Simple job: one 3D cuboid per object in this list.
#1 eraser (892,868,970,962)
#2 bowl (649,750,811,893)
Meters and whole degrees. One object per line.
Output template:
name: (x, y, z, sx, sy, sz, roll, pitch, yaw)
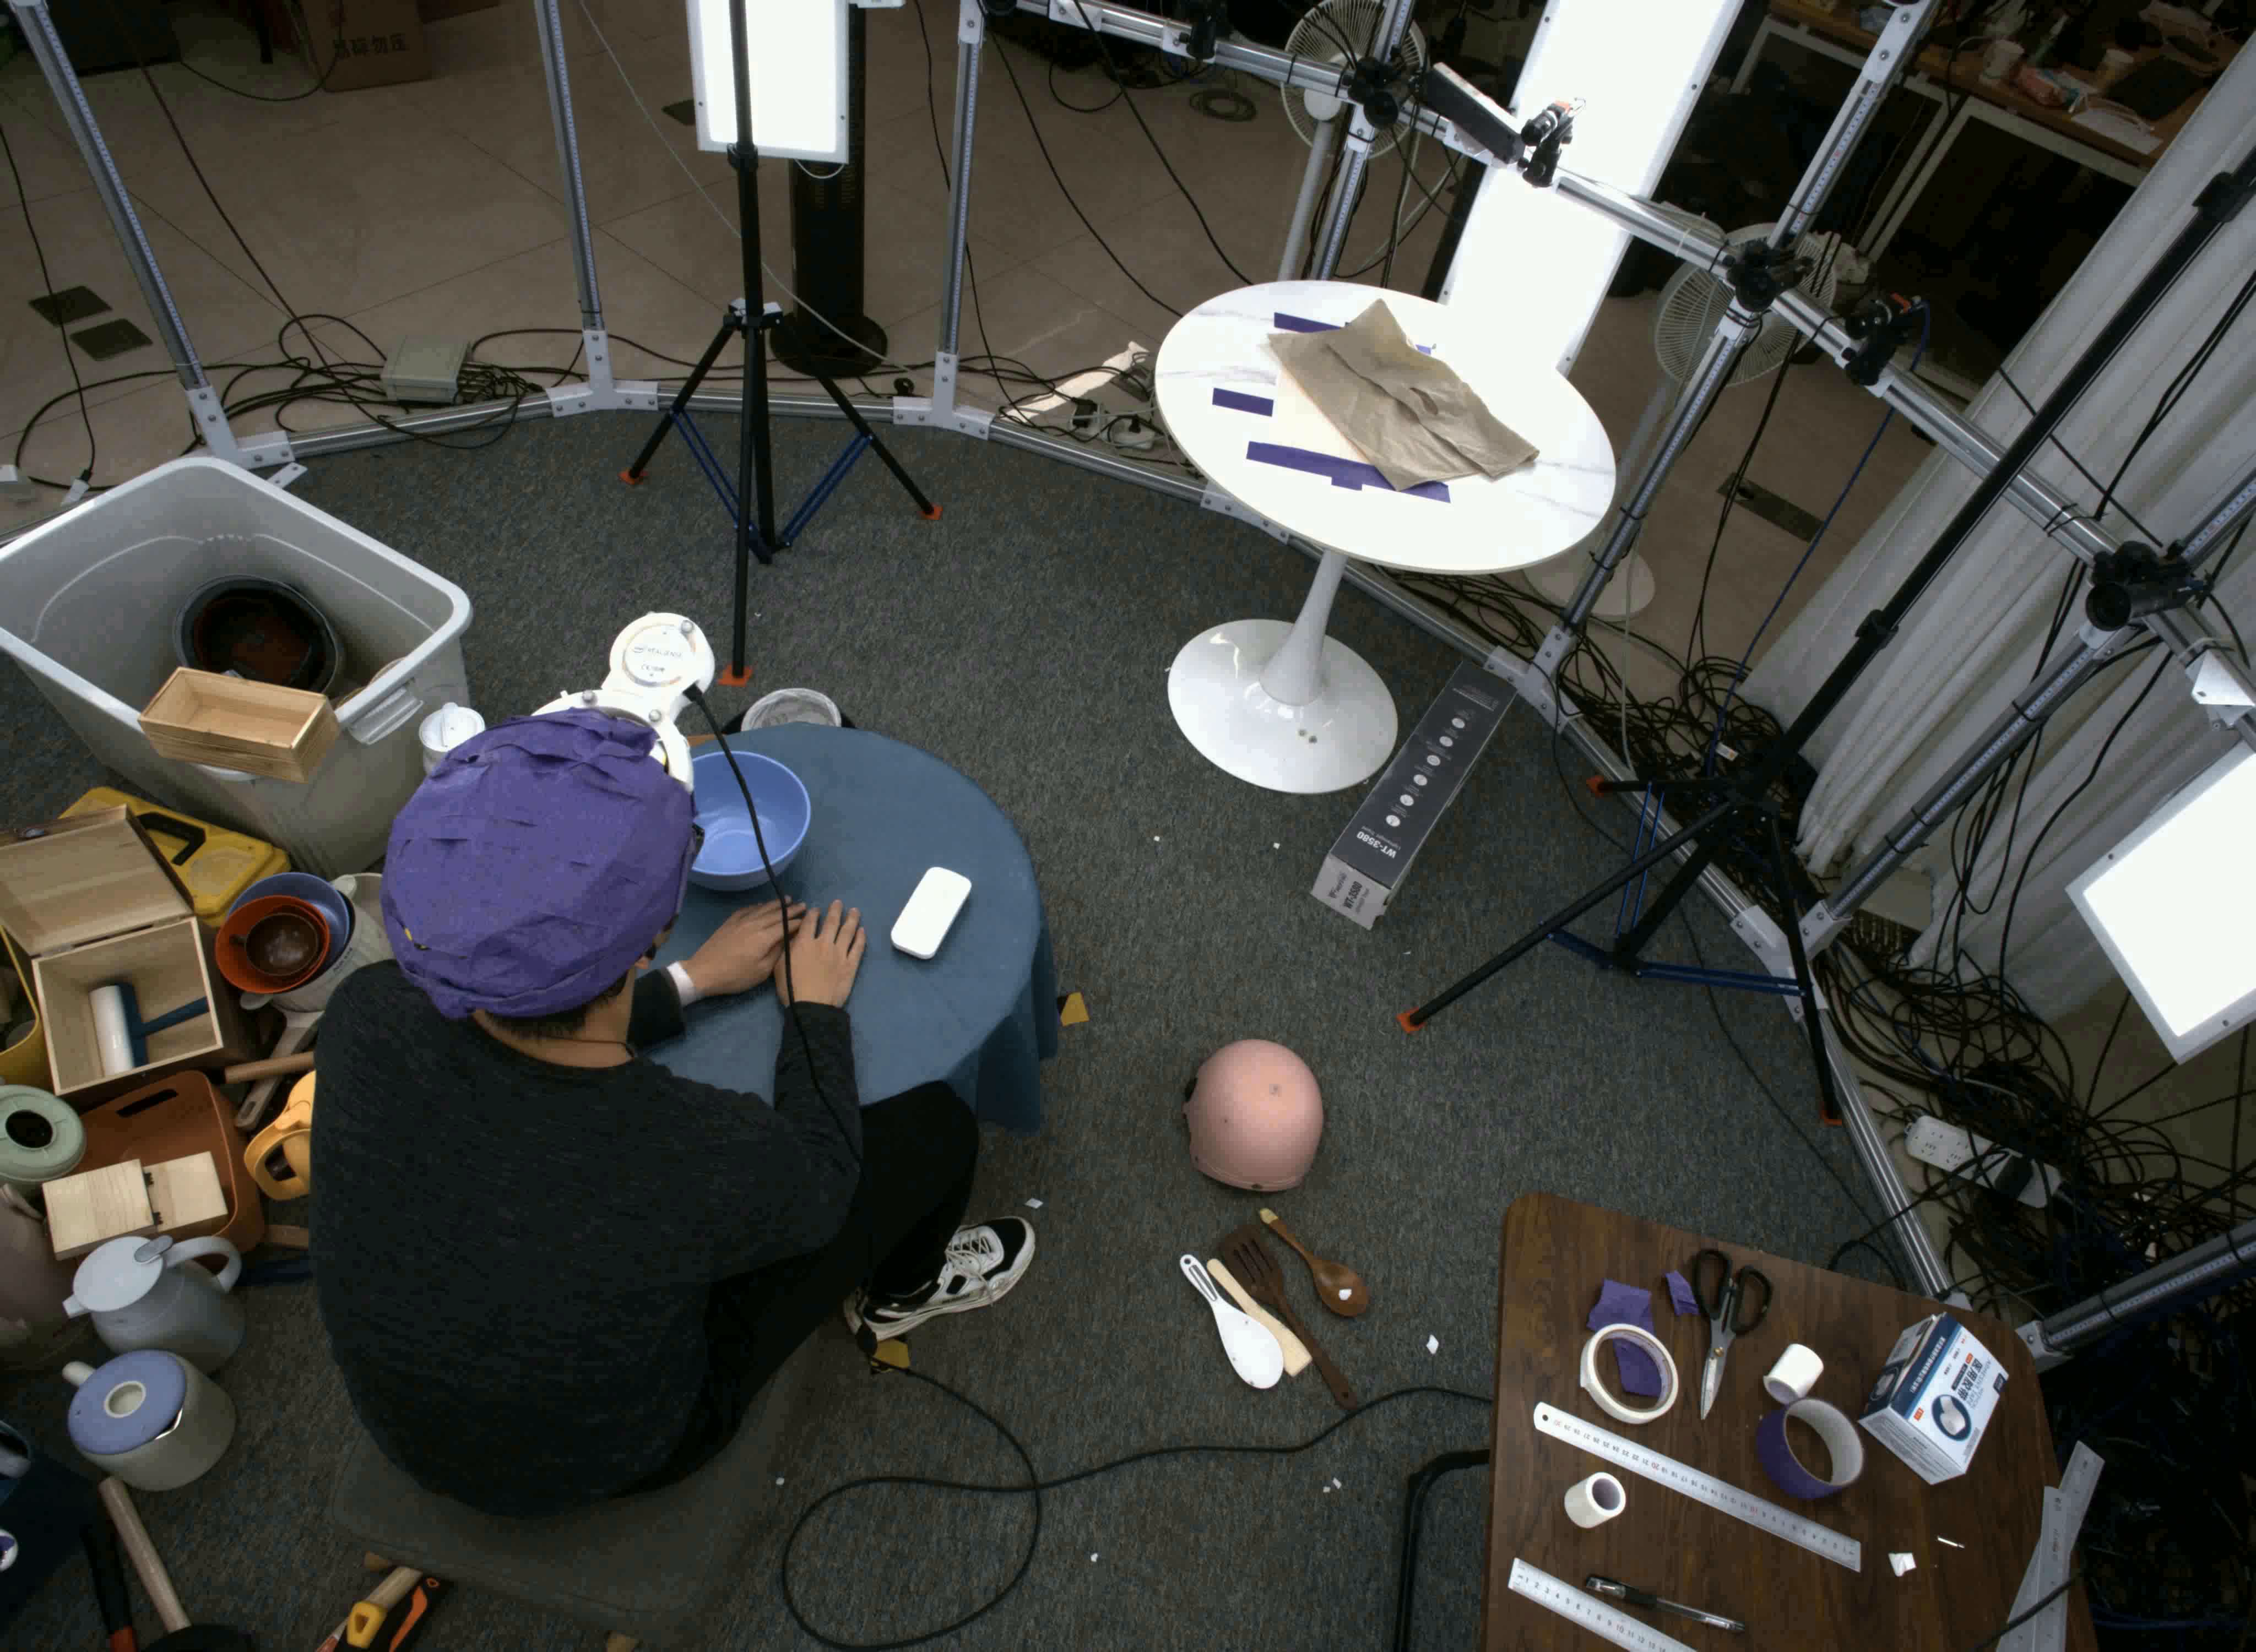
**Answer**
eraser: (-0.252, 0.110, 1.662, 0.062, 0.035, 0.130, 22, 51, 4)
bowl: (-0.500, 0.009, 1.633, 0.196, 0.097, 0.193, 8, 52, -9)
